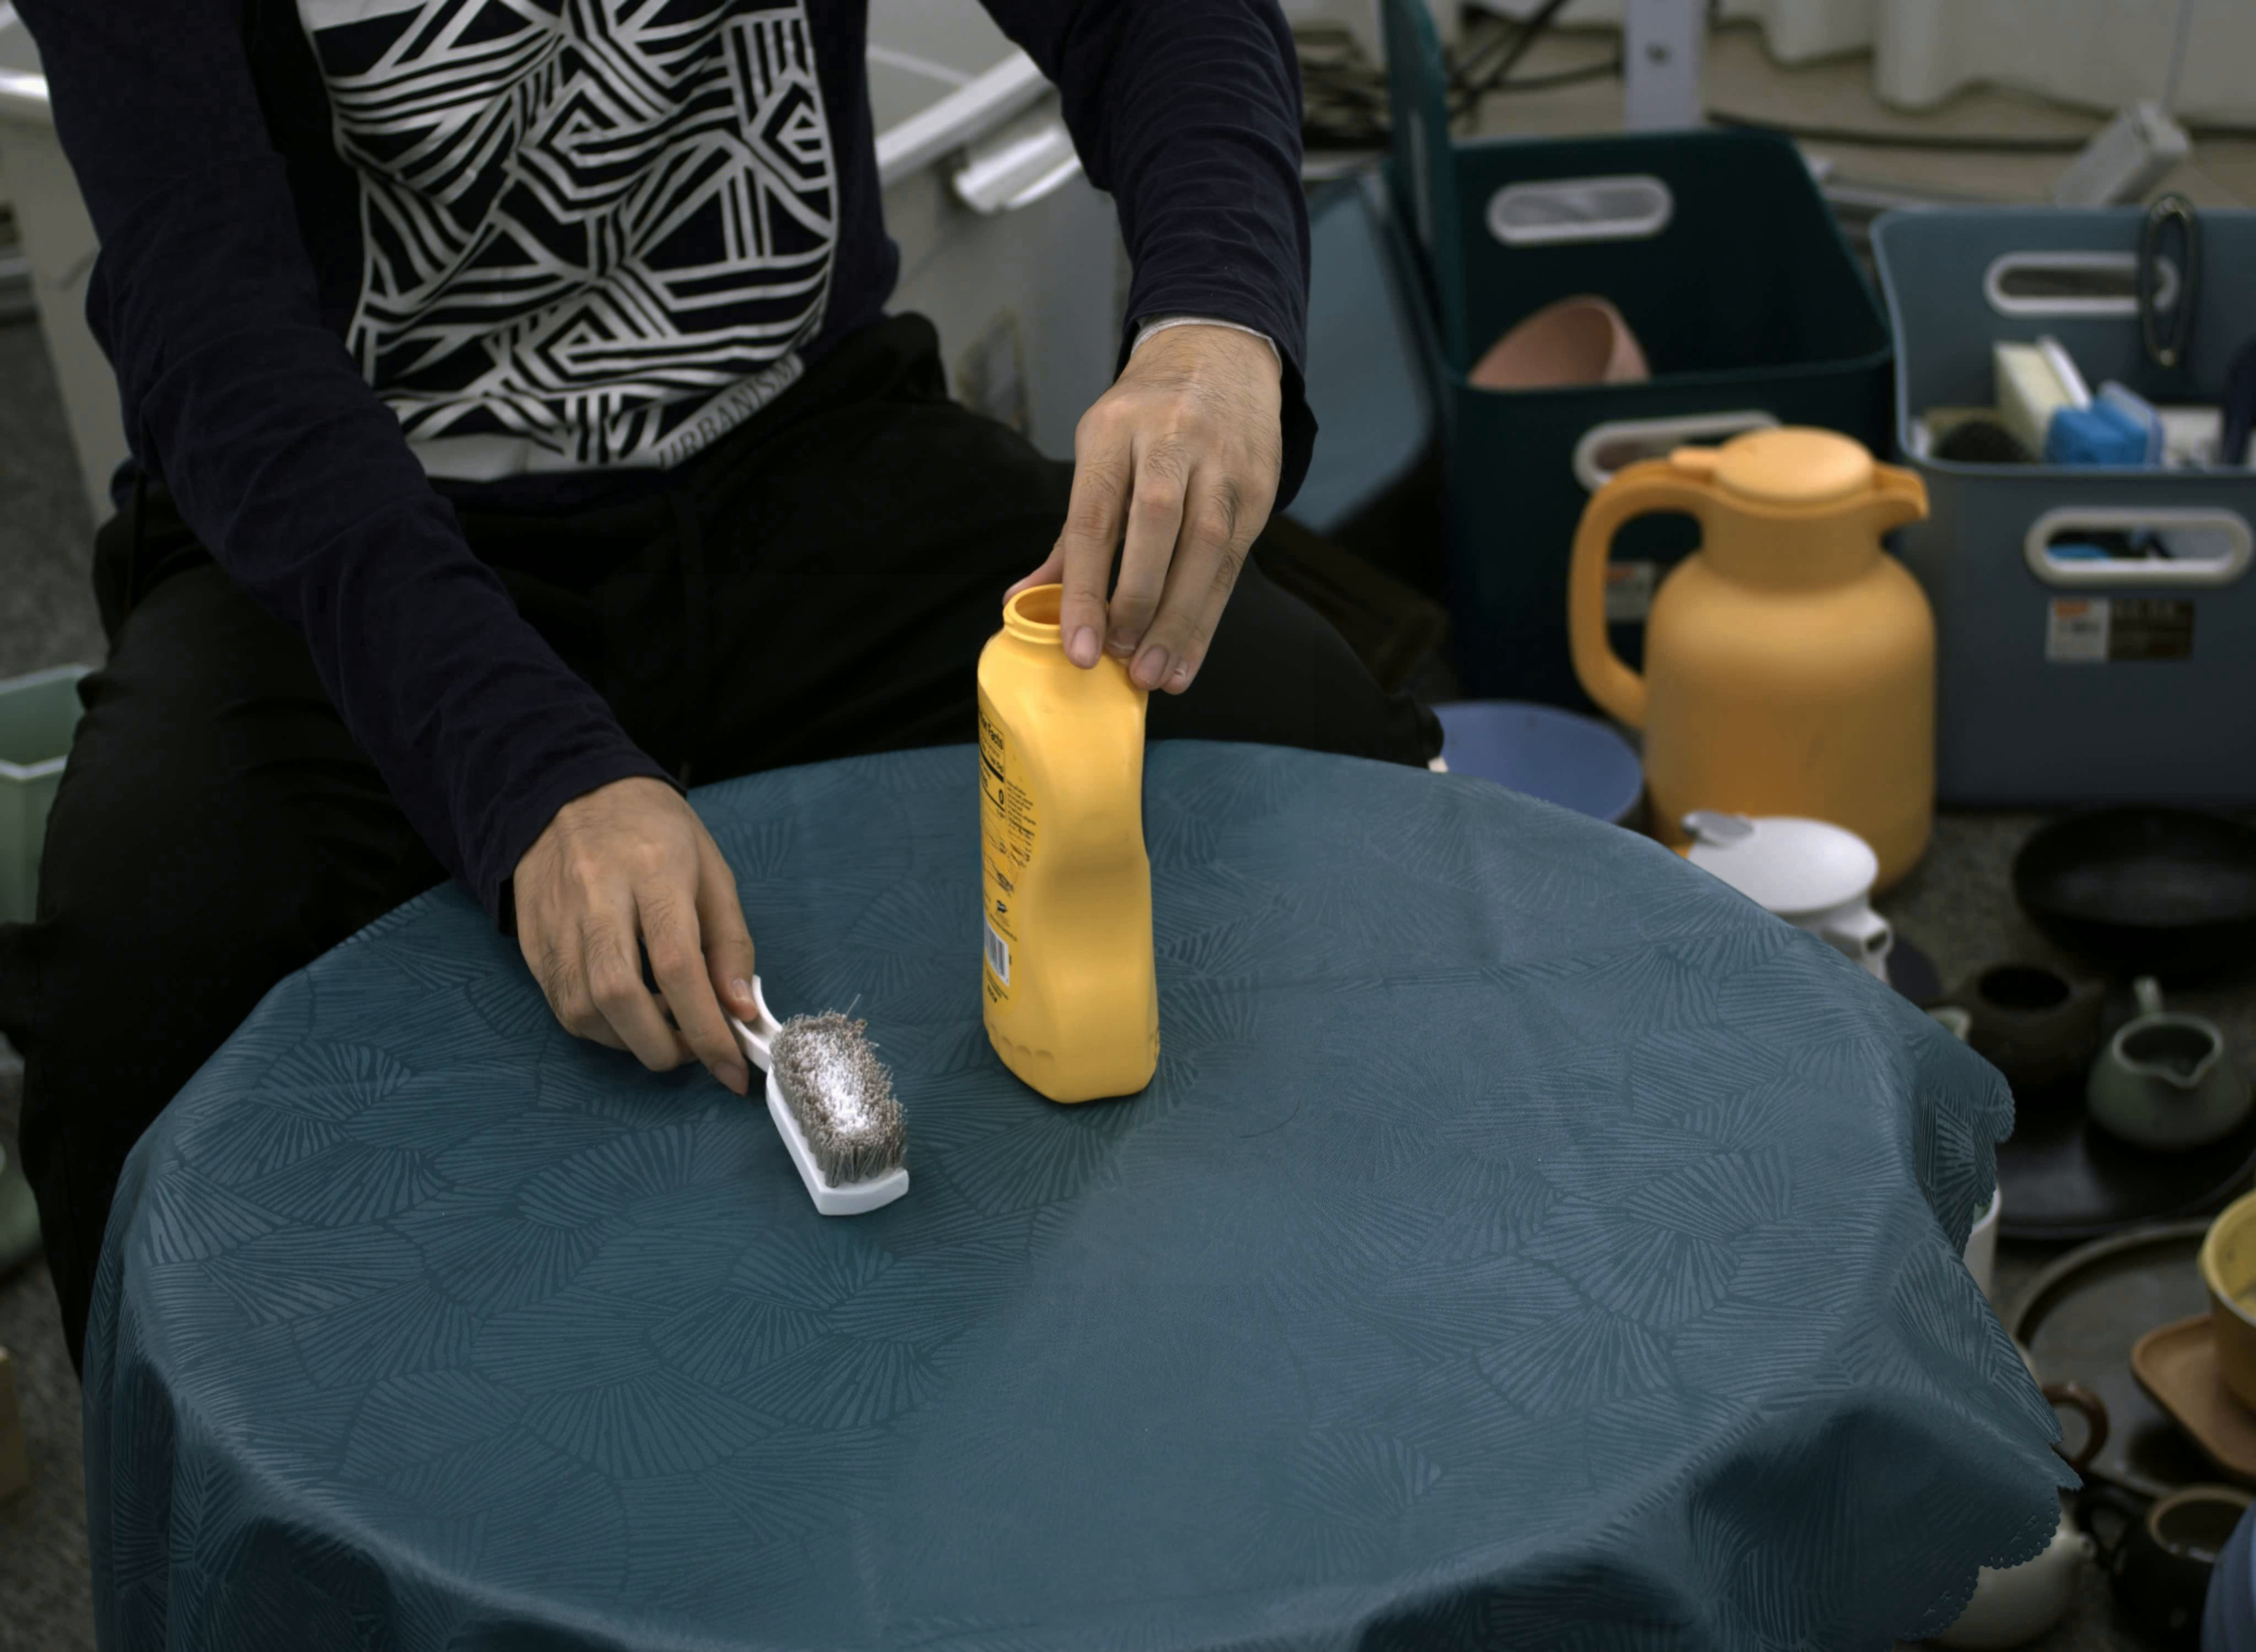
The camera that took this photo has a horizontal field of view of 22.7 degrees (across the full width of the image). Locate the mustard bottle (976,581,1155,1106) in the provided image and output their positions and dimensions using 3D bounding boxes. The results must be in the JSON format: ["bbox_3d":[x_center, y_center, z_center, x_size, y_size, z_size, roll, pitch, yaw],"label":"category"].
[{"bbox_3d":[-0.021,0.000,1.910,0.059,0.170,0.099,-8,26,-18],"label":"mustard bottle"}]

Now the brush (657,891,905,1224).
[{"bbox_3d":[-0.125,0.062,1.936,0.034,0.049,0.246,-16,30,-13],"label":"brush"}]
